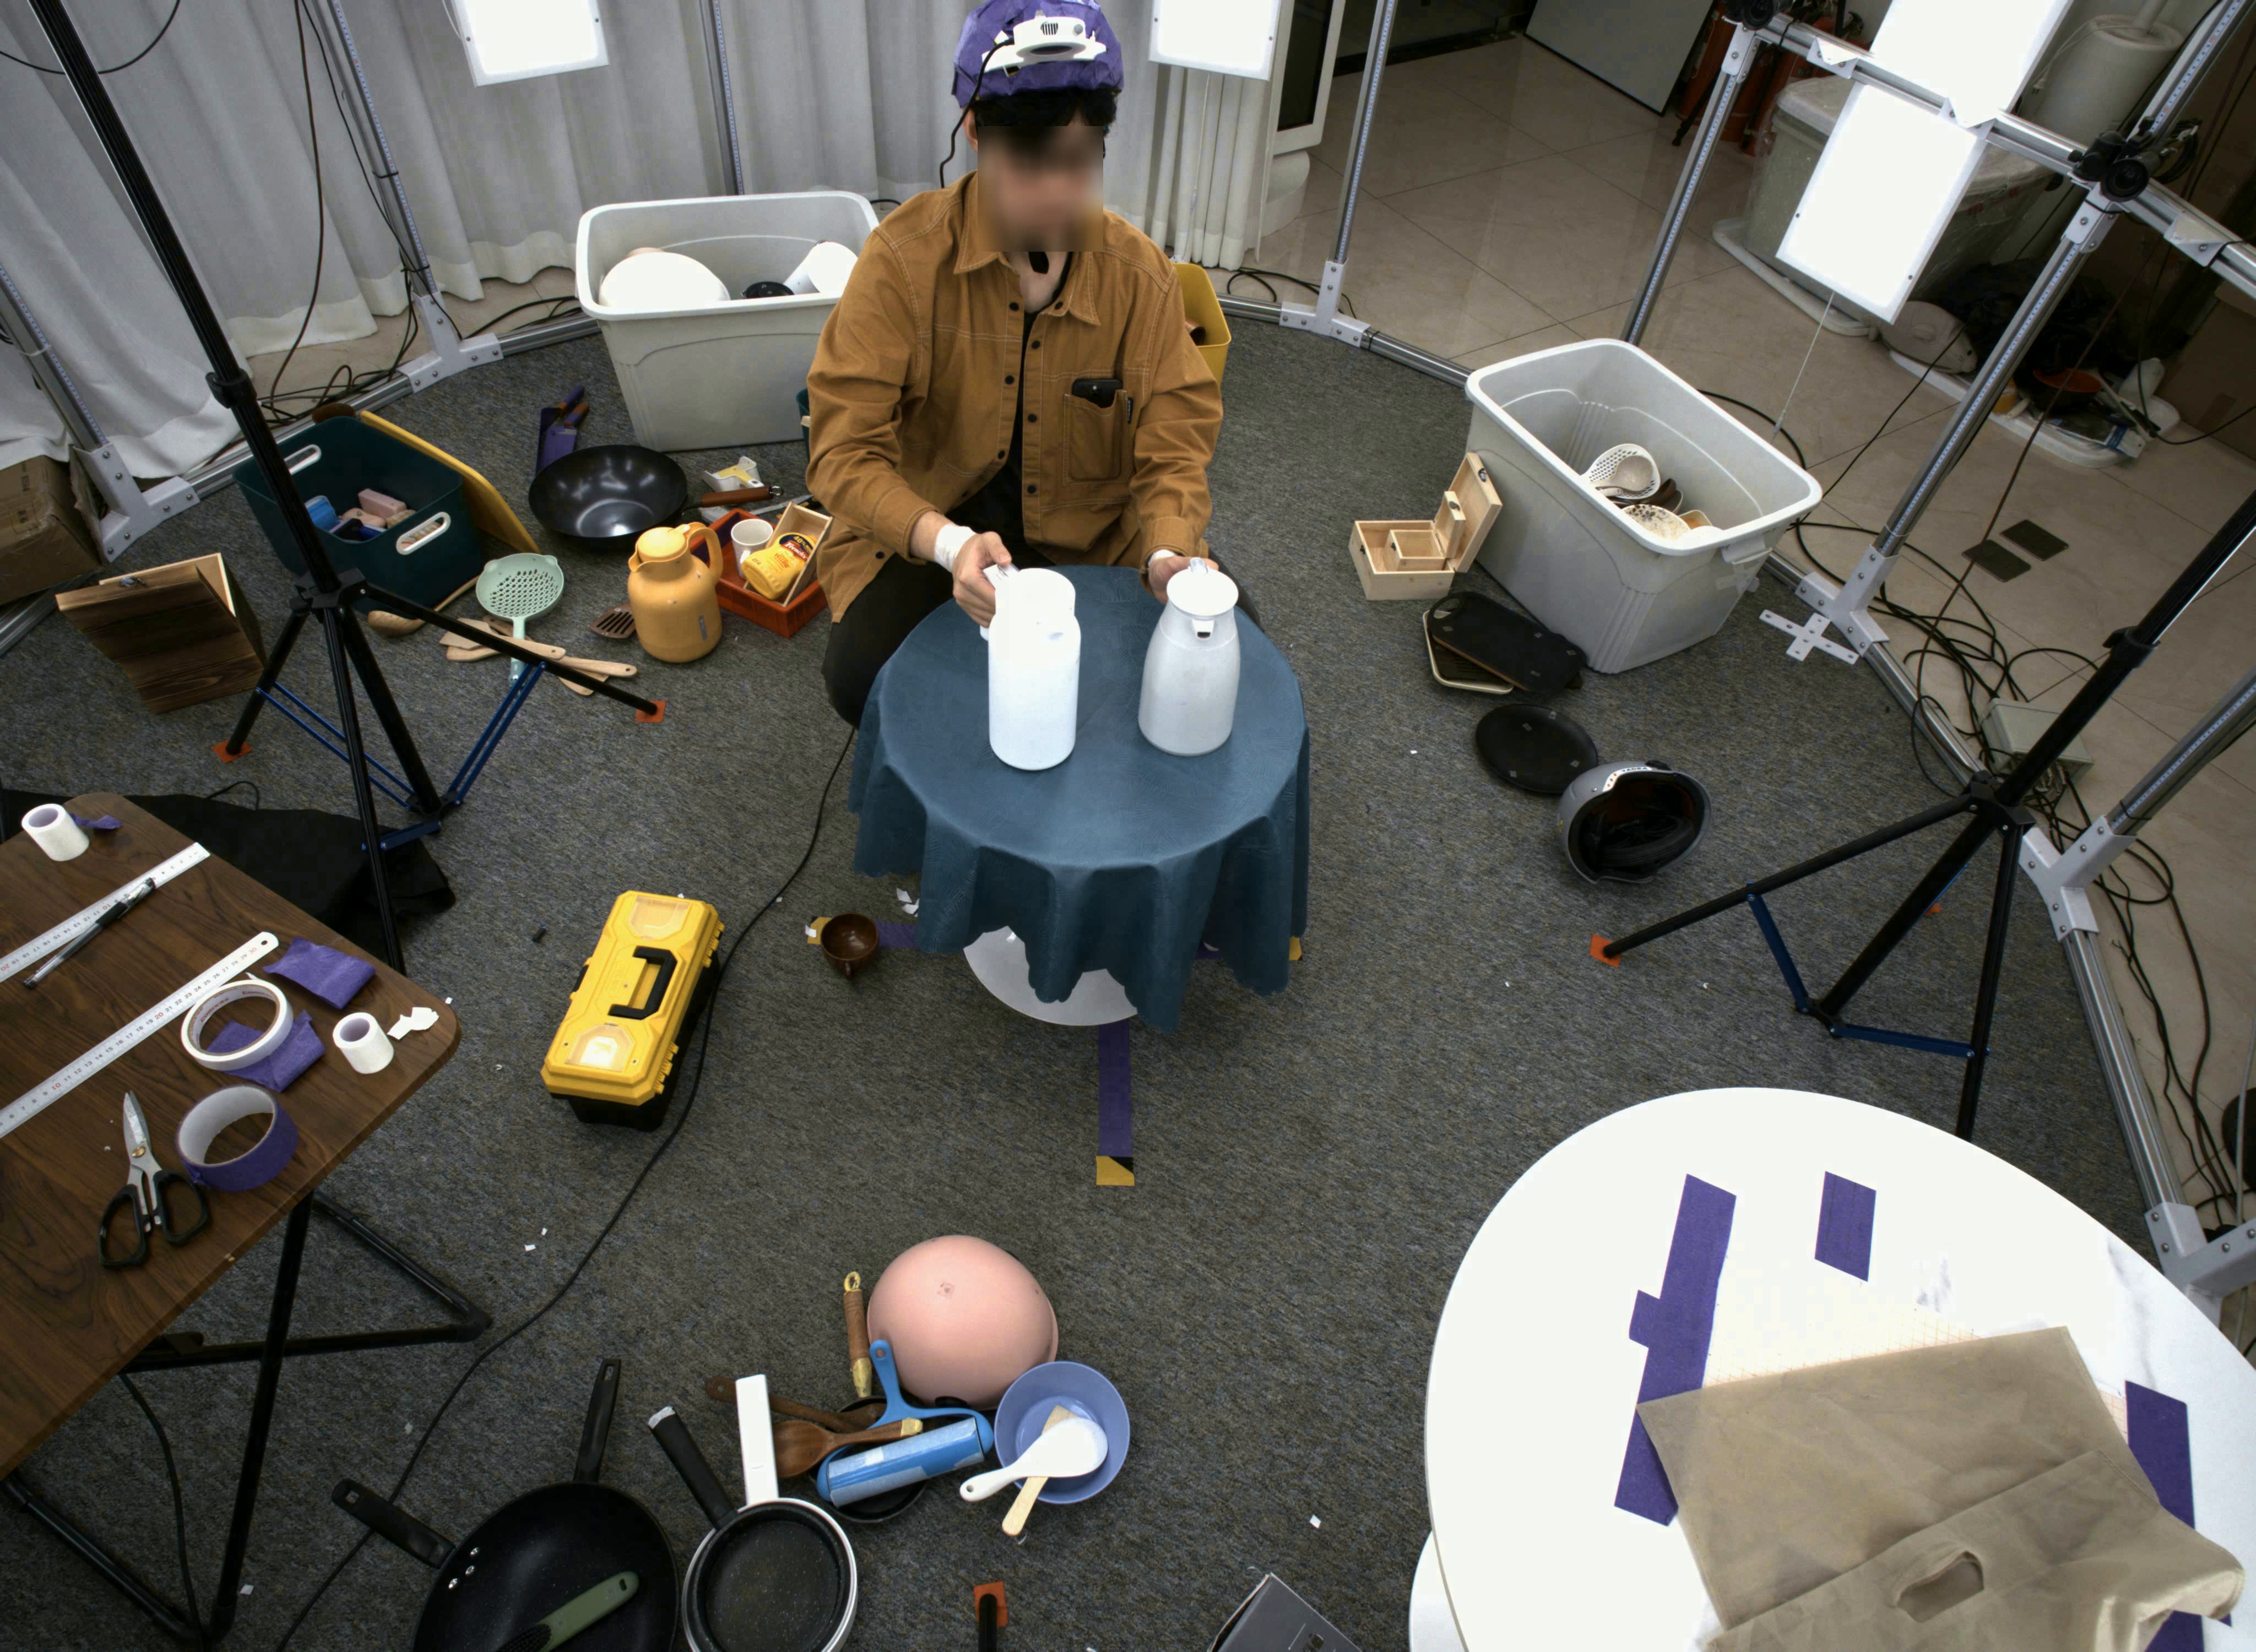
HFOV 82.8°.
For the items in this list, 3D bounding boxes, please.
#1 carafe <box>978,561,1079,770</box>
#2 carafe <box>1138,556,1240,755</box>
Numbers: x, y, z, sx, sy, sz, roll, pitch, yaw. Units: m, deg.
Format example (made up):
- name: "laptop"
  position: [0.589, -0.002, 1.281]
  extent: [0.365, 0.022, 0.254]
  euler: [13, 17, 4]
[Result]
- name: "carafe"
  position: [-0.135, -0.210, 1.671]
  extent: [0.124, 0.262, 0.176]
  euler: [-30, 57, -24]
- name: "carafe"
  position: [0.085, -0.240, 1.721]
  extent: [0.132, 0.242, 0.172]
  euler: [1, 49, -3]
